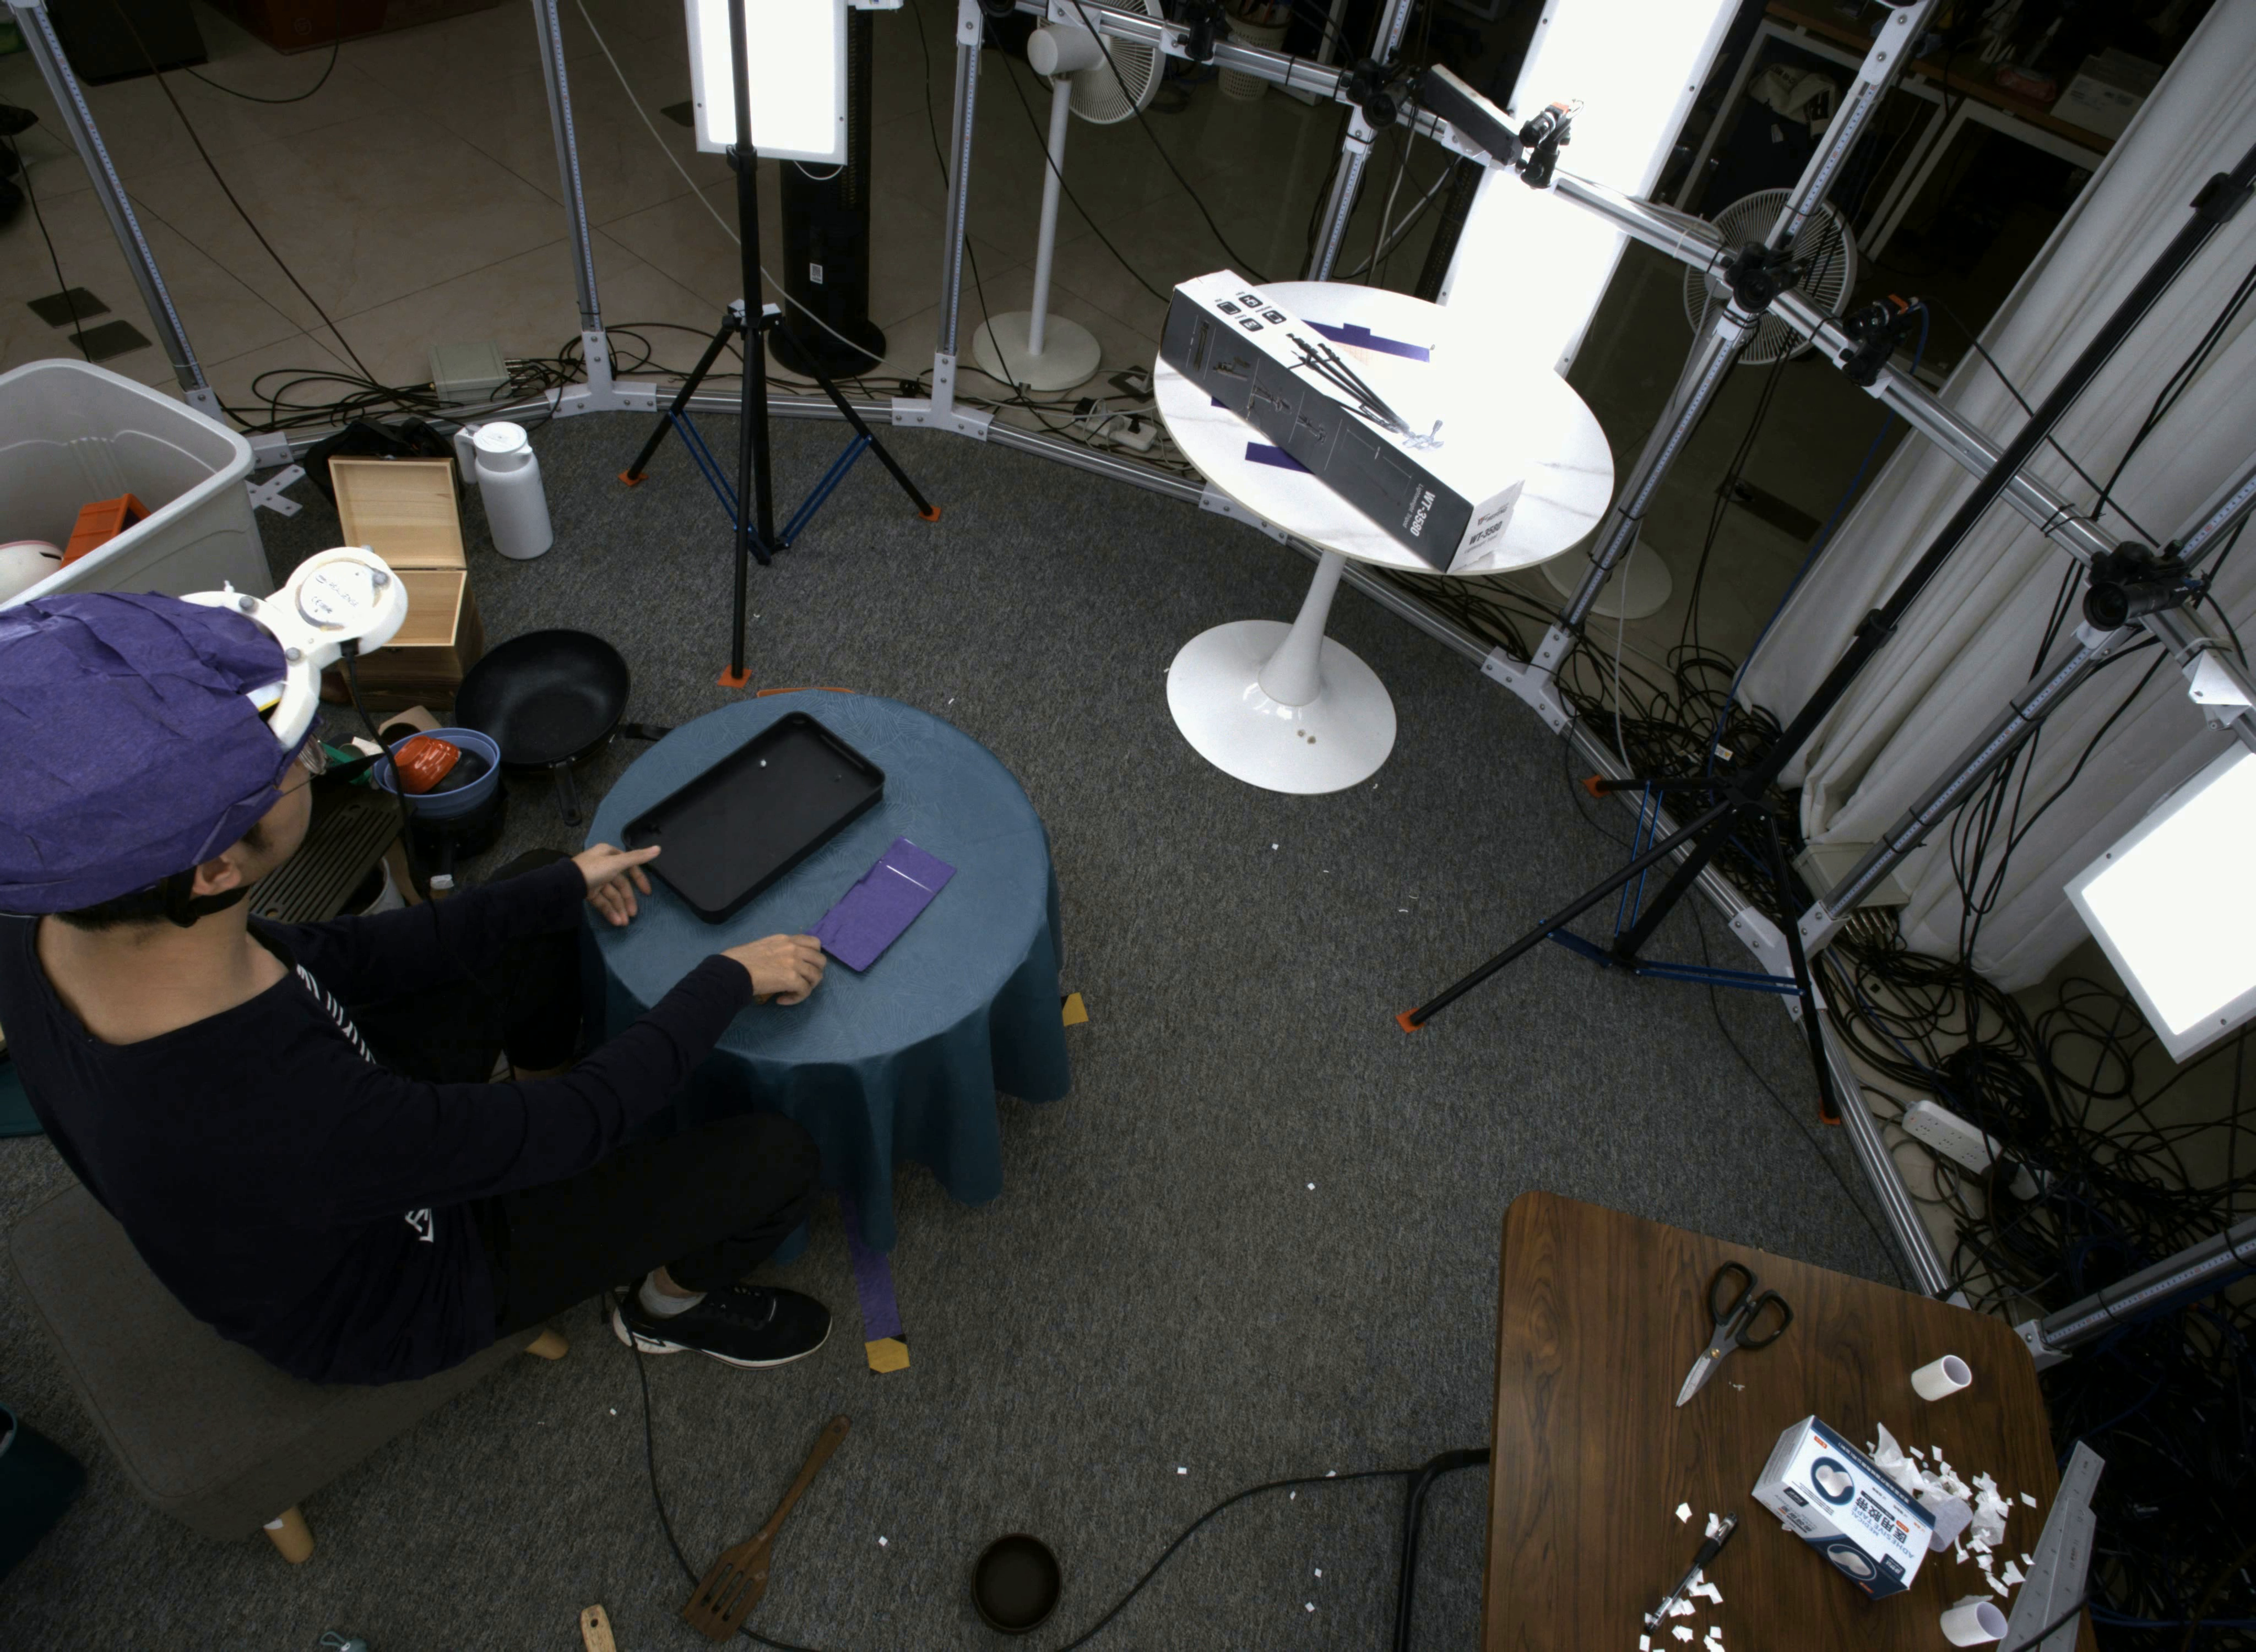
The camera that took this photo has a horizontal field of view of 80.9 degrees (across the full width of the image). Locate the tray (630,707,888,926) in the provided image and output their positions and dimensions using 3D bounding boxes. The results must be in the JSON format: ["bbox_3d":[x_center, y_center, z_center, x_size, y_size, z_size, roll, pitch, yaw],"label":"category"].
[{"bbox_3d":[-0.485,-0.020,1.714,0.181,0.038,0.318,36,55,12],"label":"tray"}]

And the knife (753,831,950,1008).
[{"bbox_3d":[-0.341,0.123,1.647,0.102,0.033,0.314,30,52,9],"label":"knife"}]
